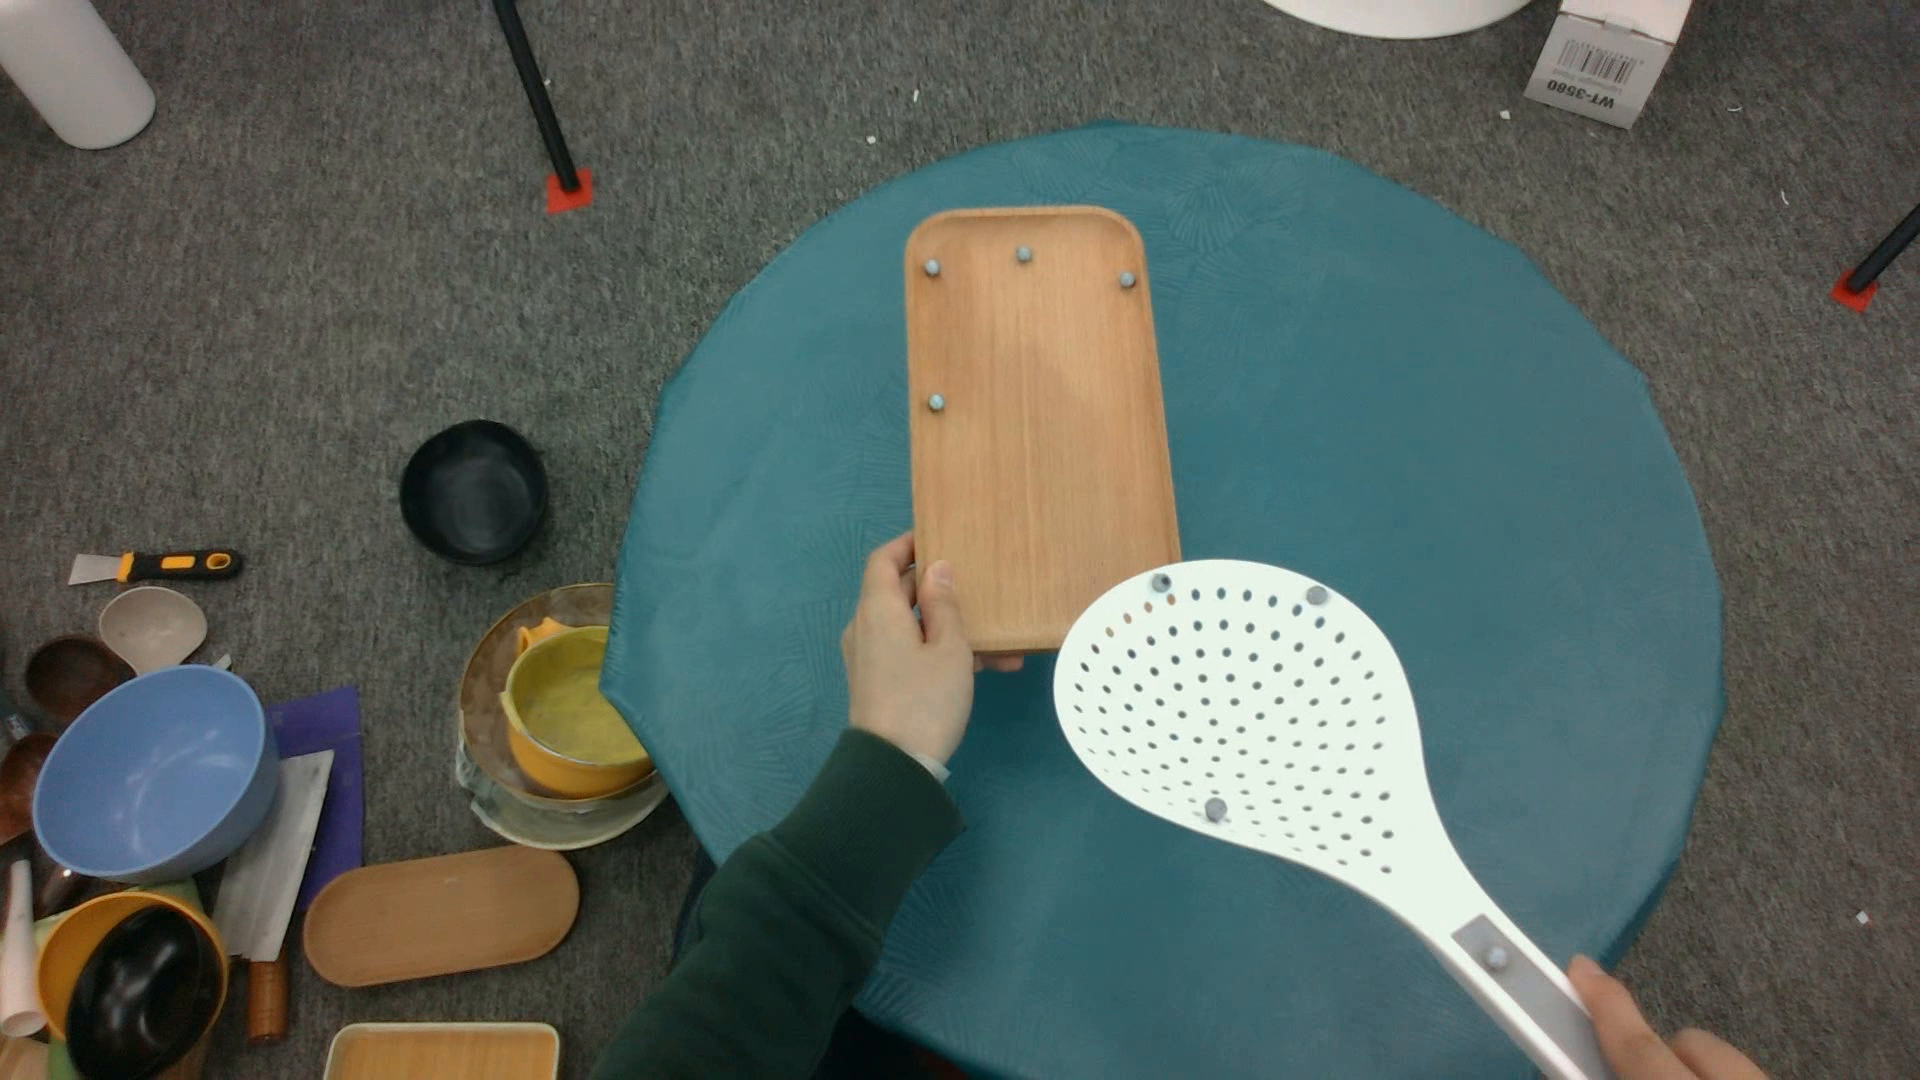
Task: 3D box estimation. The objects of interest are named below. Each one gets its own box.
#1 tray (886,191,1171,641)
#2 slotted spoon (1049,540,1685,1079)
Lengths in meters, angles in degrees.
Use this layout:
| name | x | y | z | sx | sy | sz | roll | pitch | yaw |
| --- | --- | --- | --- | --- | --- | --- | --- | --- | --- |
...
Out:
| name | x | y | z | sx | sy | sz | roll | pitch | yaw |
| --- | --- | --- | --- | --- | --- | --- | --- | --- | --- |
| tray | 0.031 | -0.068 | 0.689 | 0.130 | 0.023 | 0.251 | -3 | 67 | 0 |
| slotted spoon | 0.161 | 0.116 | 0.481 | 0.136 | 0.045 | 0.350 | -27 | 44 | -18 |
